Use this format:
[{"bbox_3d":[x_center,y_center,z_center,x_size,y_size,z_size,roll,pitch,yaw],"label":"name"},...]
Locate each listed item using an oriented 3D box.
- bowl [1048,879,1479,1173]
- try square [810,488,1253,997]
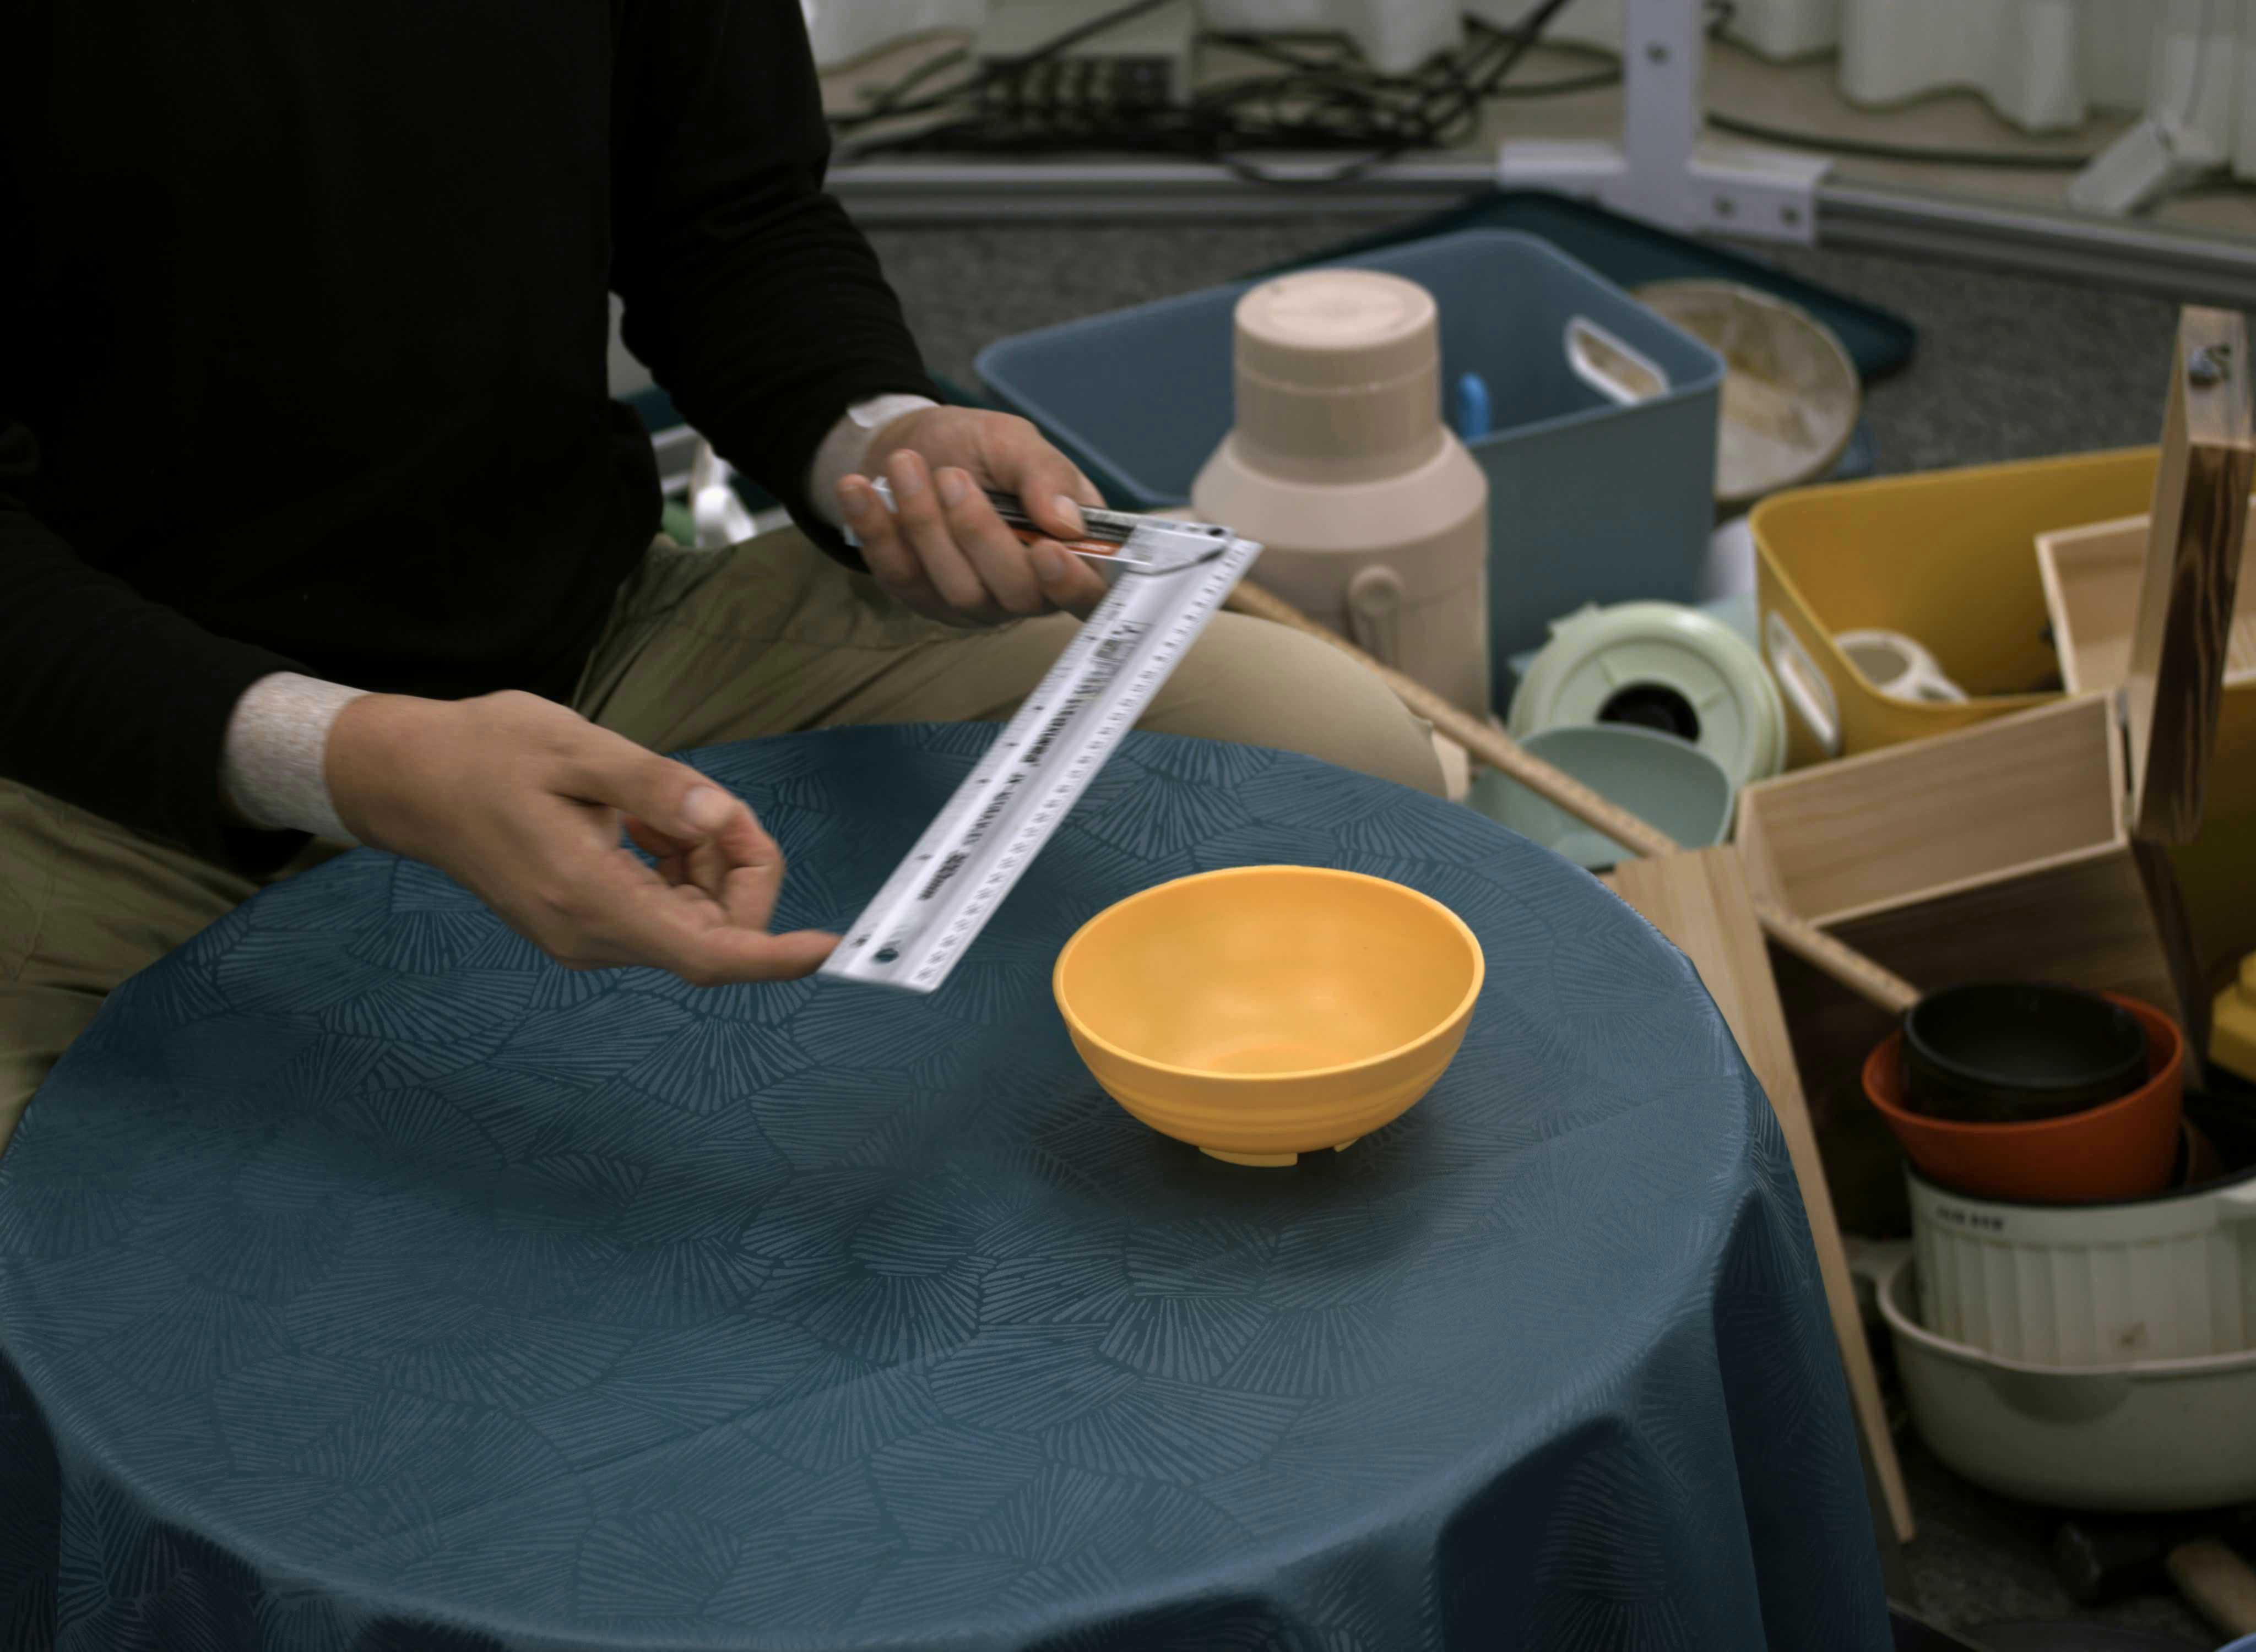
[{"bbox_3d":[0.046,0.075,1.887,0.144,0.059,0.147,-1,25,1],"label":"bowl"},{"bbox_3d":[-0.078,-0.034,1.939,0.151,0.015,0.319,6,33,21],"label":"try square"}]
